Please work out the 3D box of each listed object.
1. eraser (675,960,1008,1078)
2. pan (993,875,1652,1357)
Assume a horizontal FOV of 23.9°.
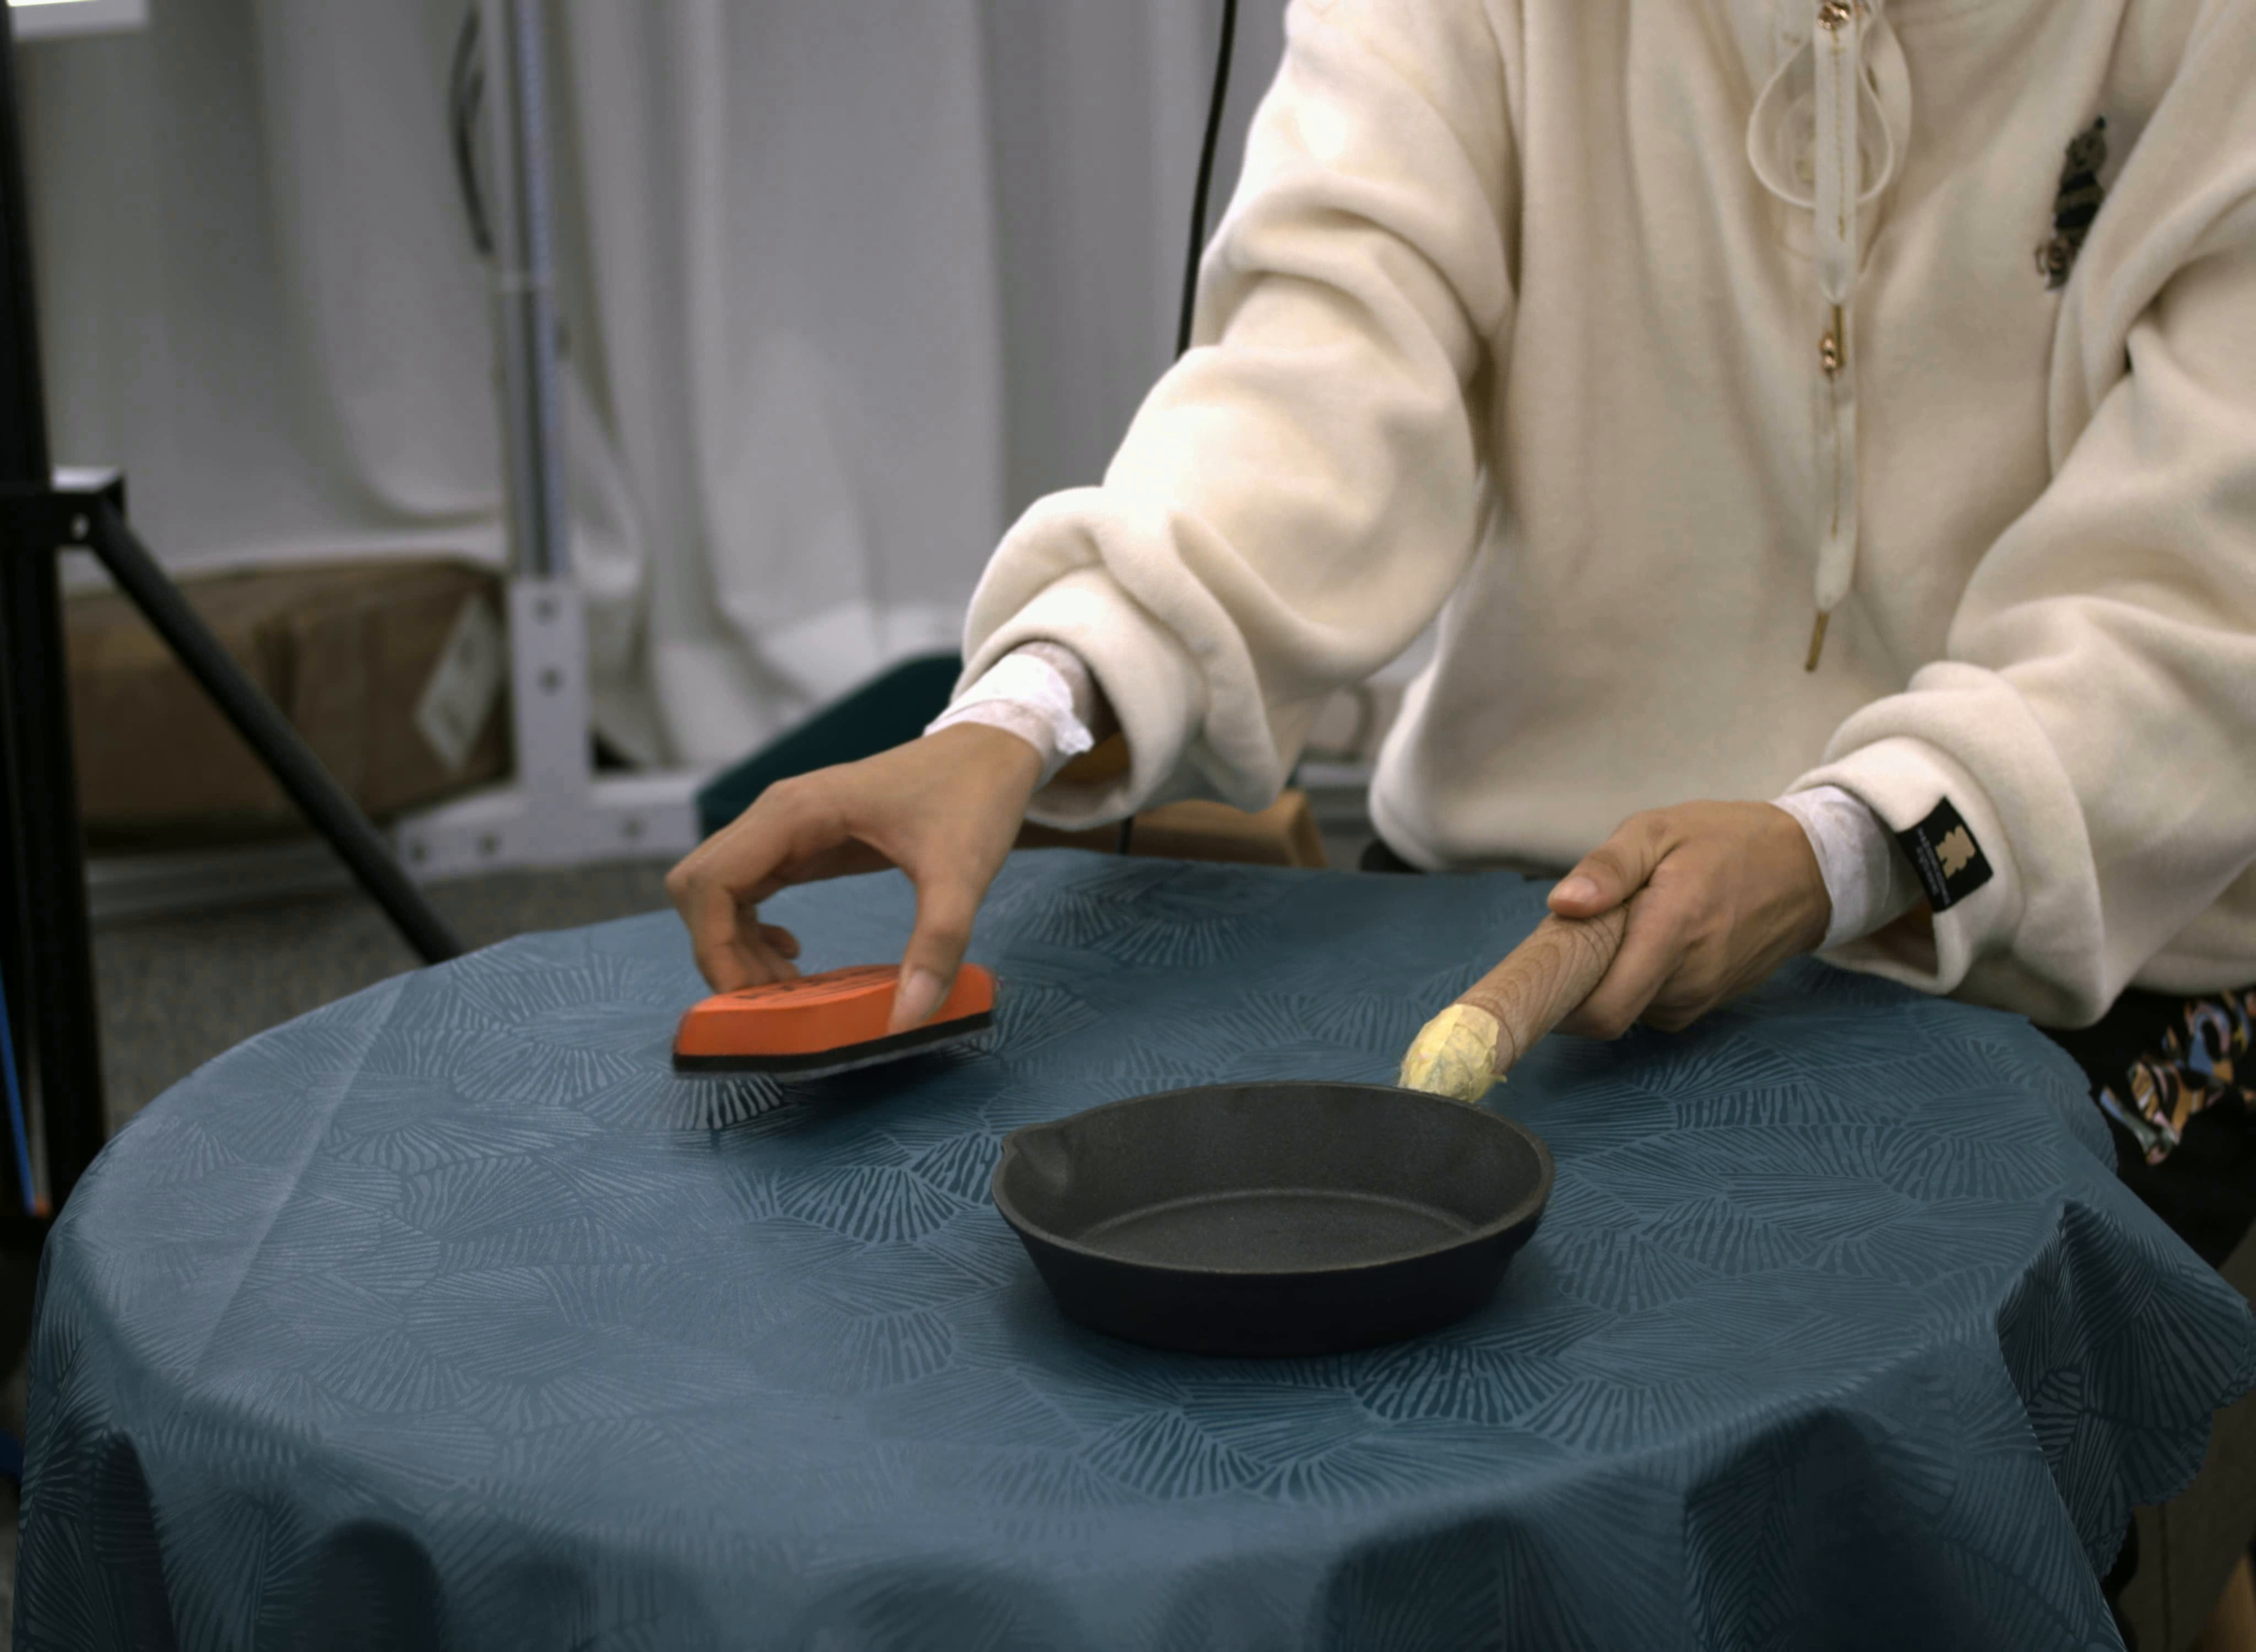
[{"bbox_3d":[-0.088,0.060,1.660,0.060,0.023,0.105,-5,3,36],"label":"eraser"},{"bbox_3d":[0.083,0.081,1.543,0.172,0.049,0.318,6,20,30],"label":"pan"}]
